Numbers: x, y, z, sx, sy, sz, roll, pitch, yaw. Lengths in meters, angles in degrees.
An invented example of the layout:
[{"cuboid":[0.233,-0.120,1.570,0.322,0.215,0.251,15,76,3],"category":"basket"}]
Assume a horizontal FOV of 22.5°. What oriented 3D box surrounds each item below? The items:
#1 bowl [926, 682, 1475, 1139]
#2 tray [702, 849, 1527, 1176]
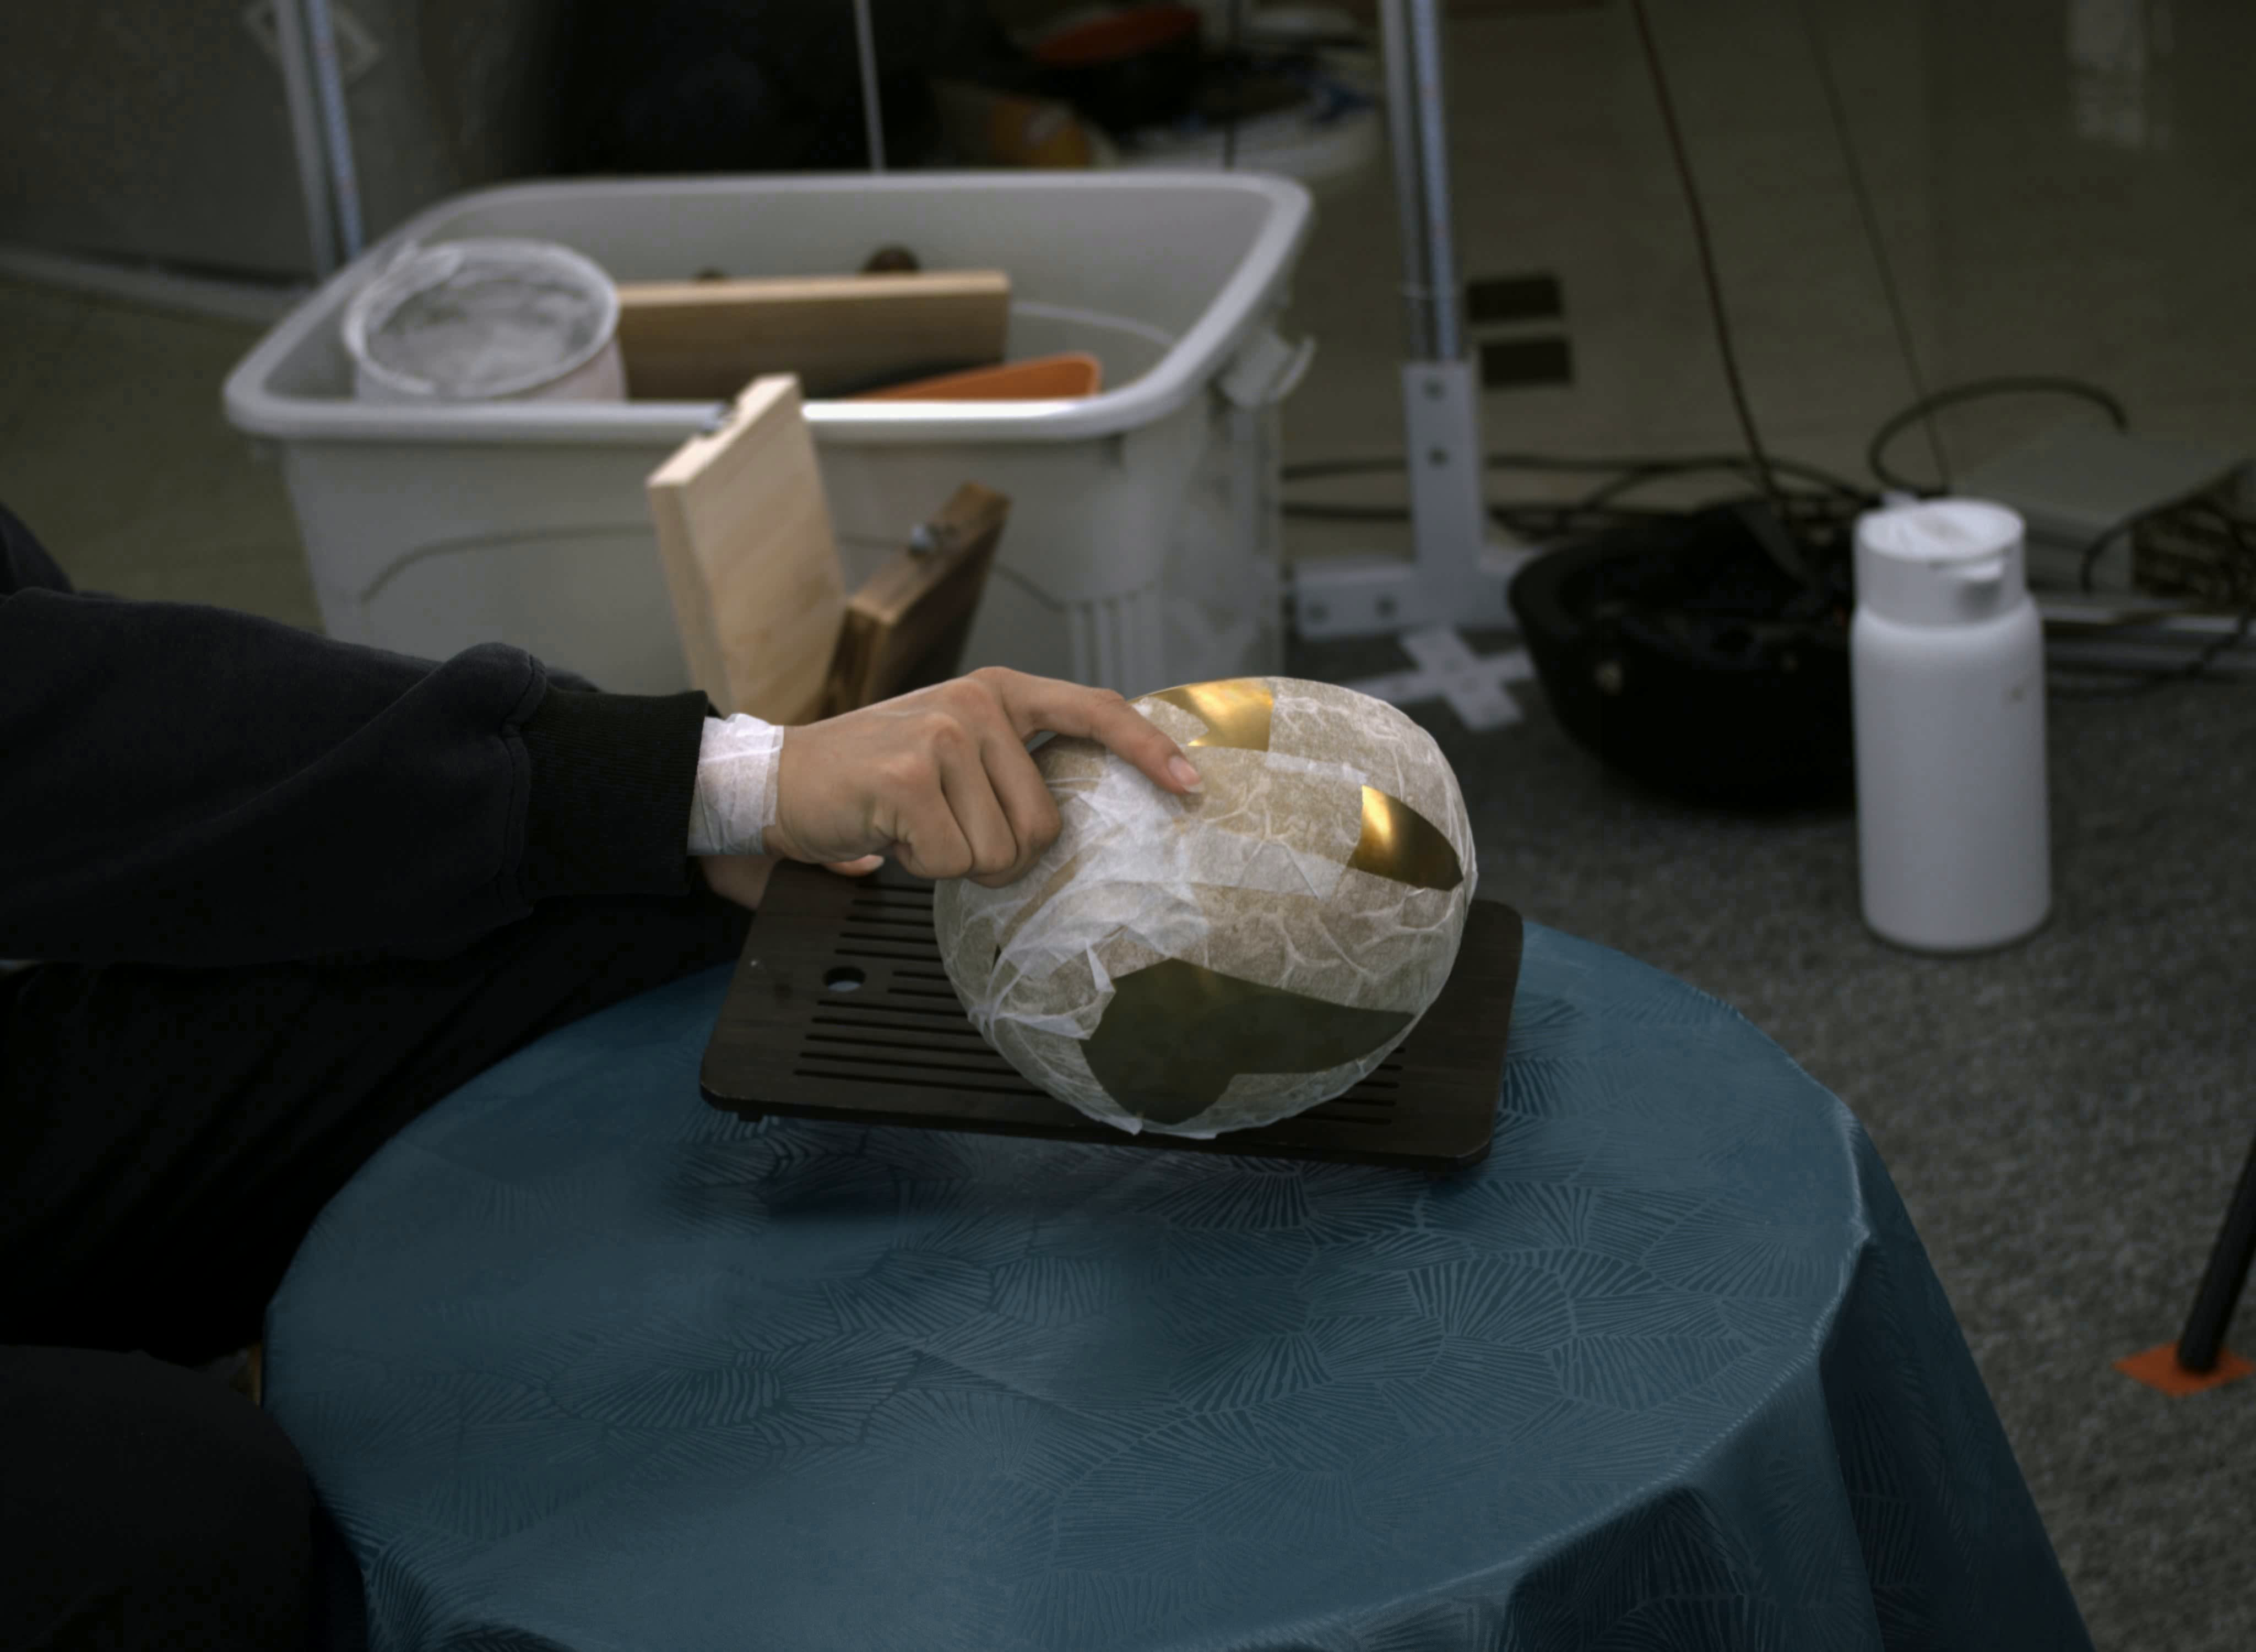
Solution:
[{"cuboid":[0.032,0.051,2.066,0.214,0.219,0.093,-9,51,-7],"category":"bowl"},{"cuboid":[-0.003,0.072,2.211,0.305,0.019,0.167,4,35,7],"category":"tray"}]
